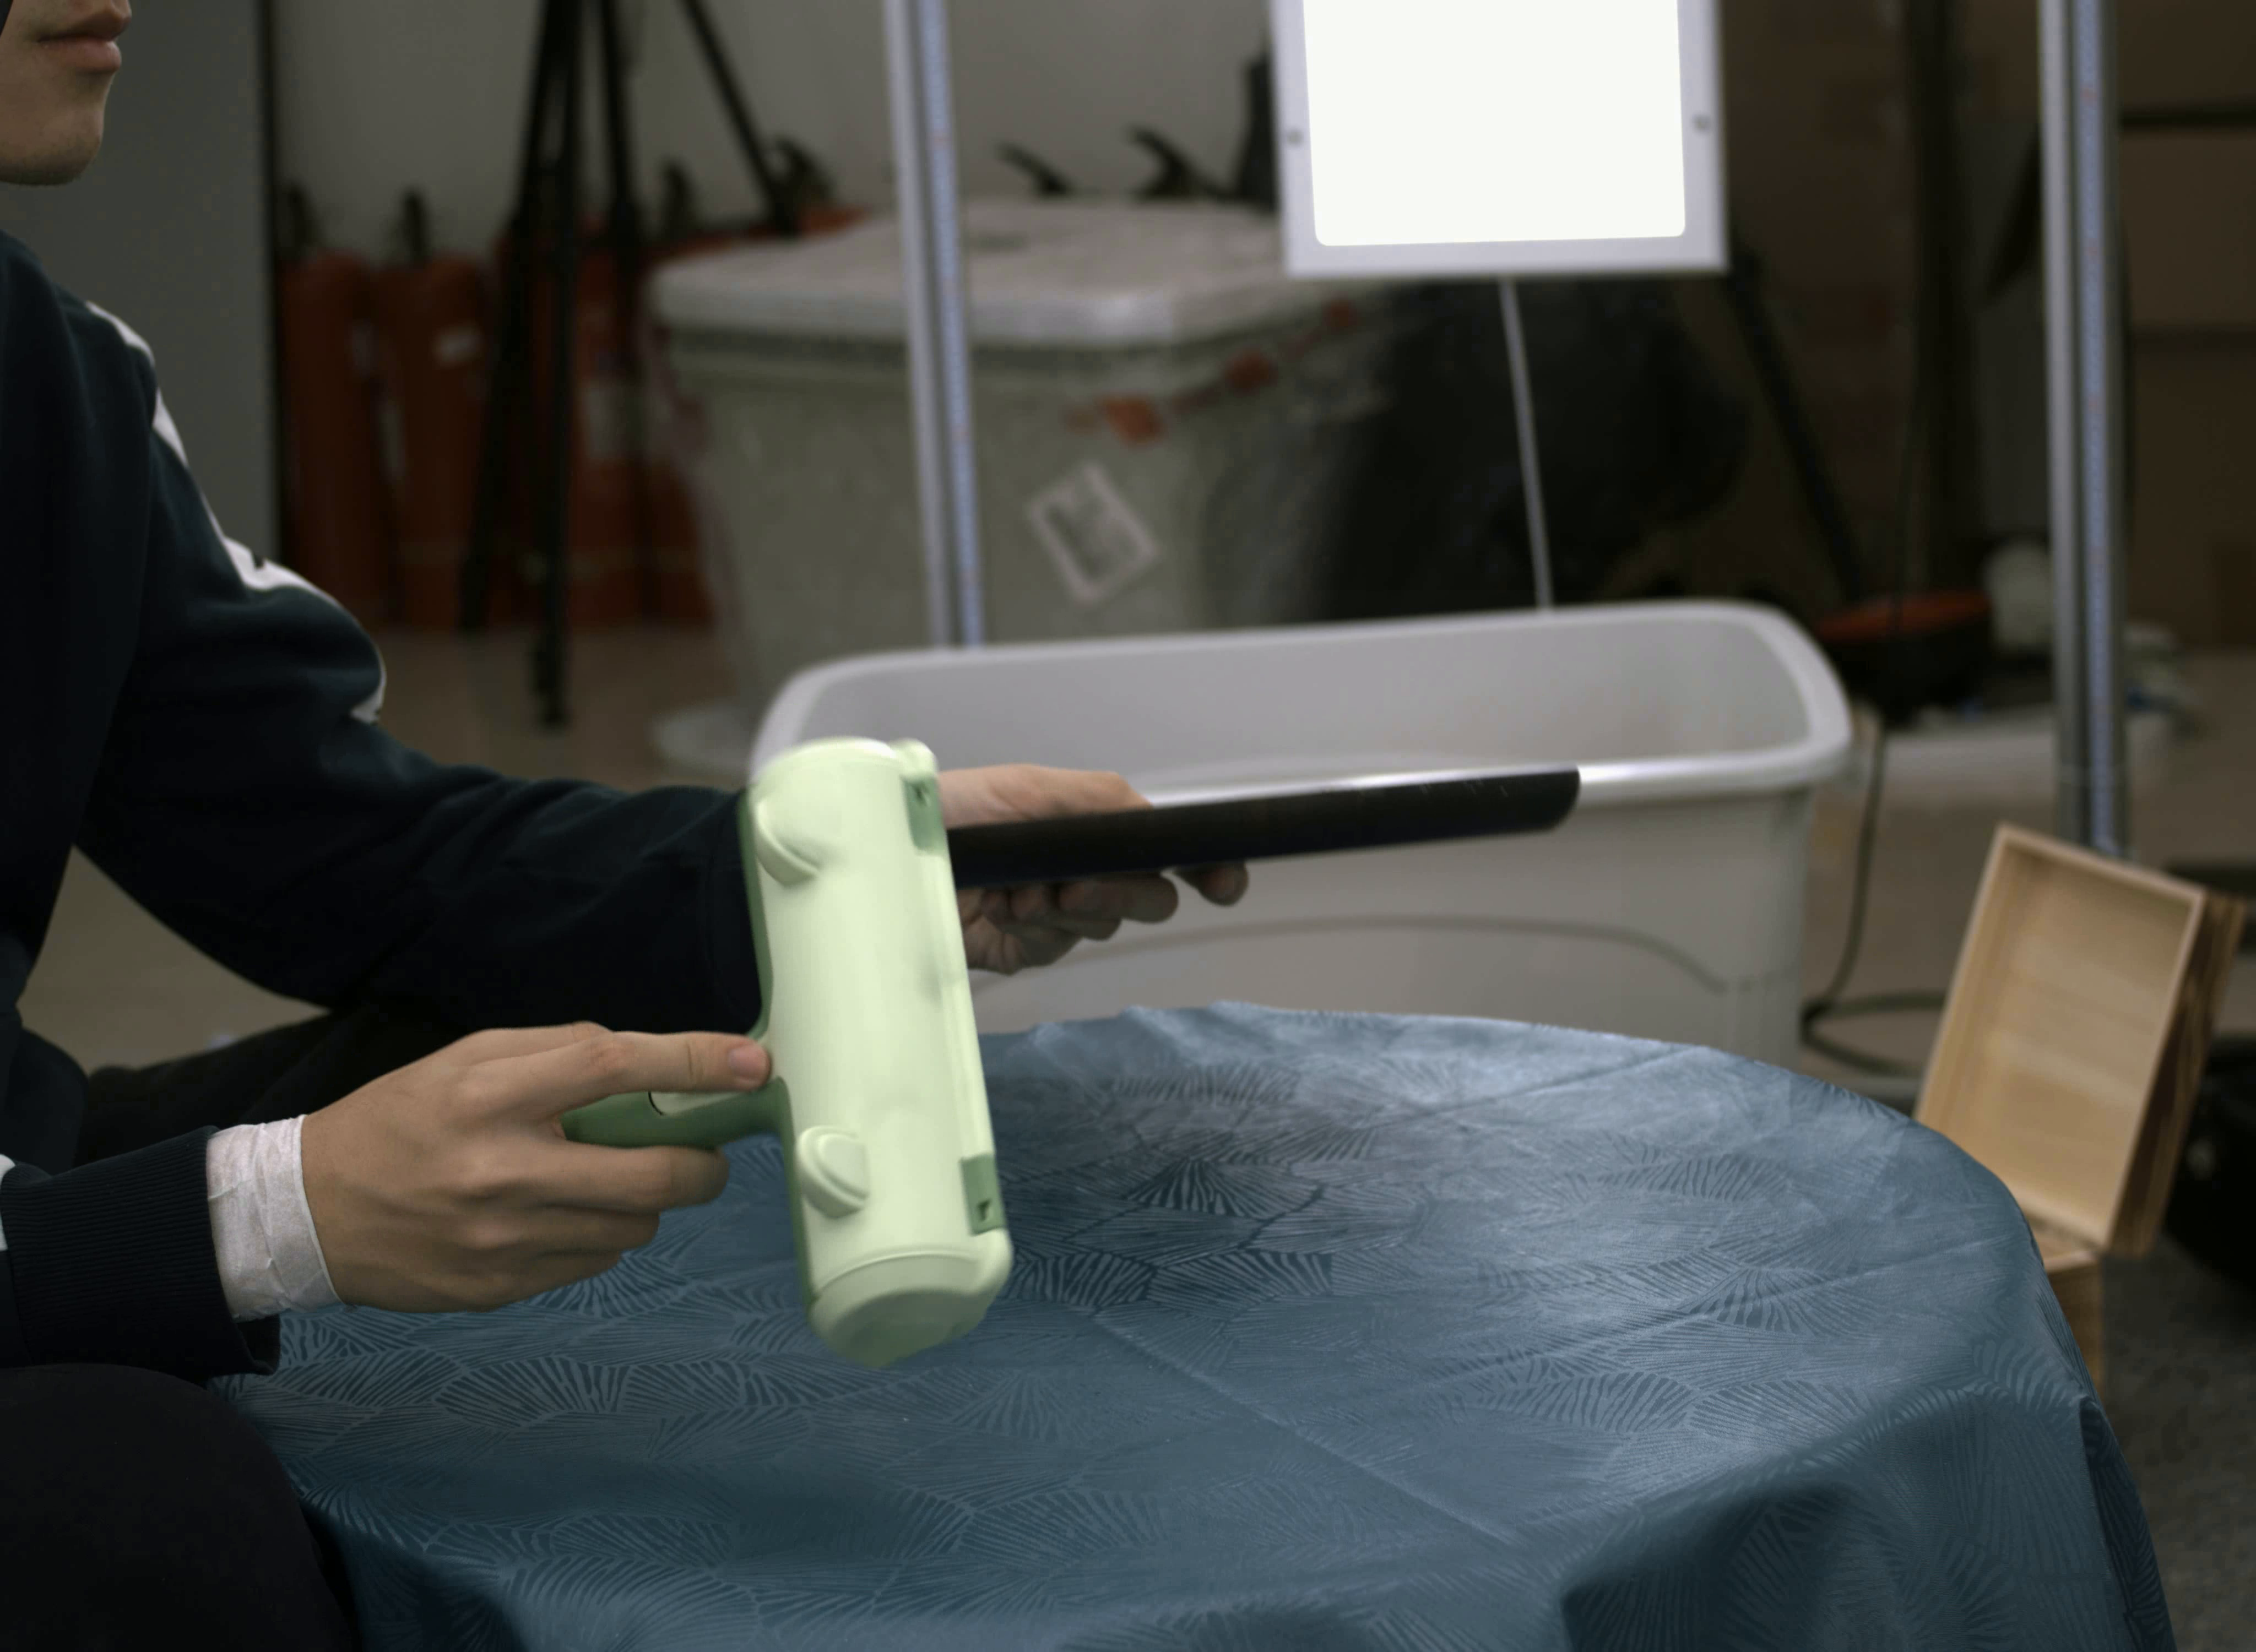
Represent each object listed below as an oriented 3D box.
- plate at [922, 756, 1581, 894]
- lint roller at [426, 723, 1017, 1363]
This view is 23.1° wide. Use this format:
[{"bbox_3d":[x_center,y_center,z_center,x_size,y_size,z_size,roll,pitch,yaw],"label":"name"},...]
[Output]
[{"bbox_3d":[0.031,0.000,1.889,0.254,0.029,0.255,-6,0,-1],"label":"plate"},{"bbox_3d":[-0.135,0.074,1.662,0.184,0.199,0.081,-16,-30,8],"label":"lint roller"}]
